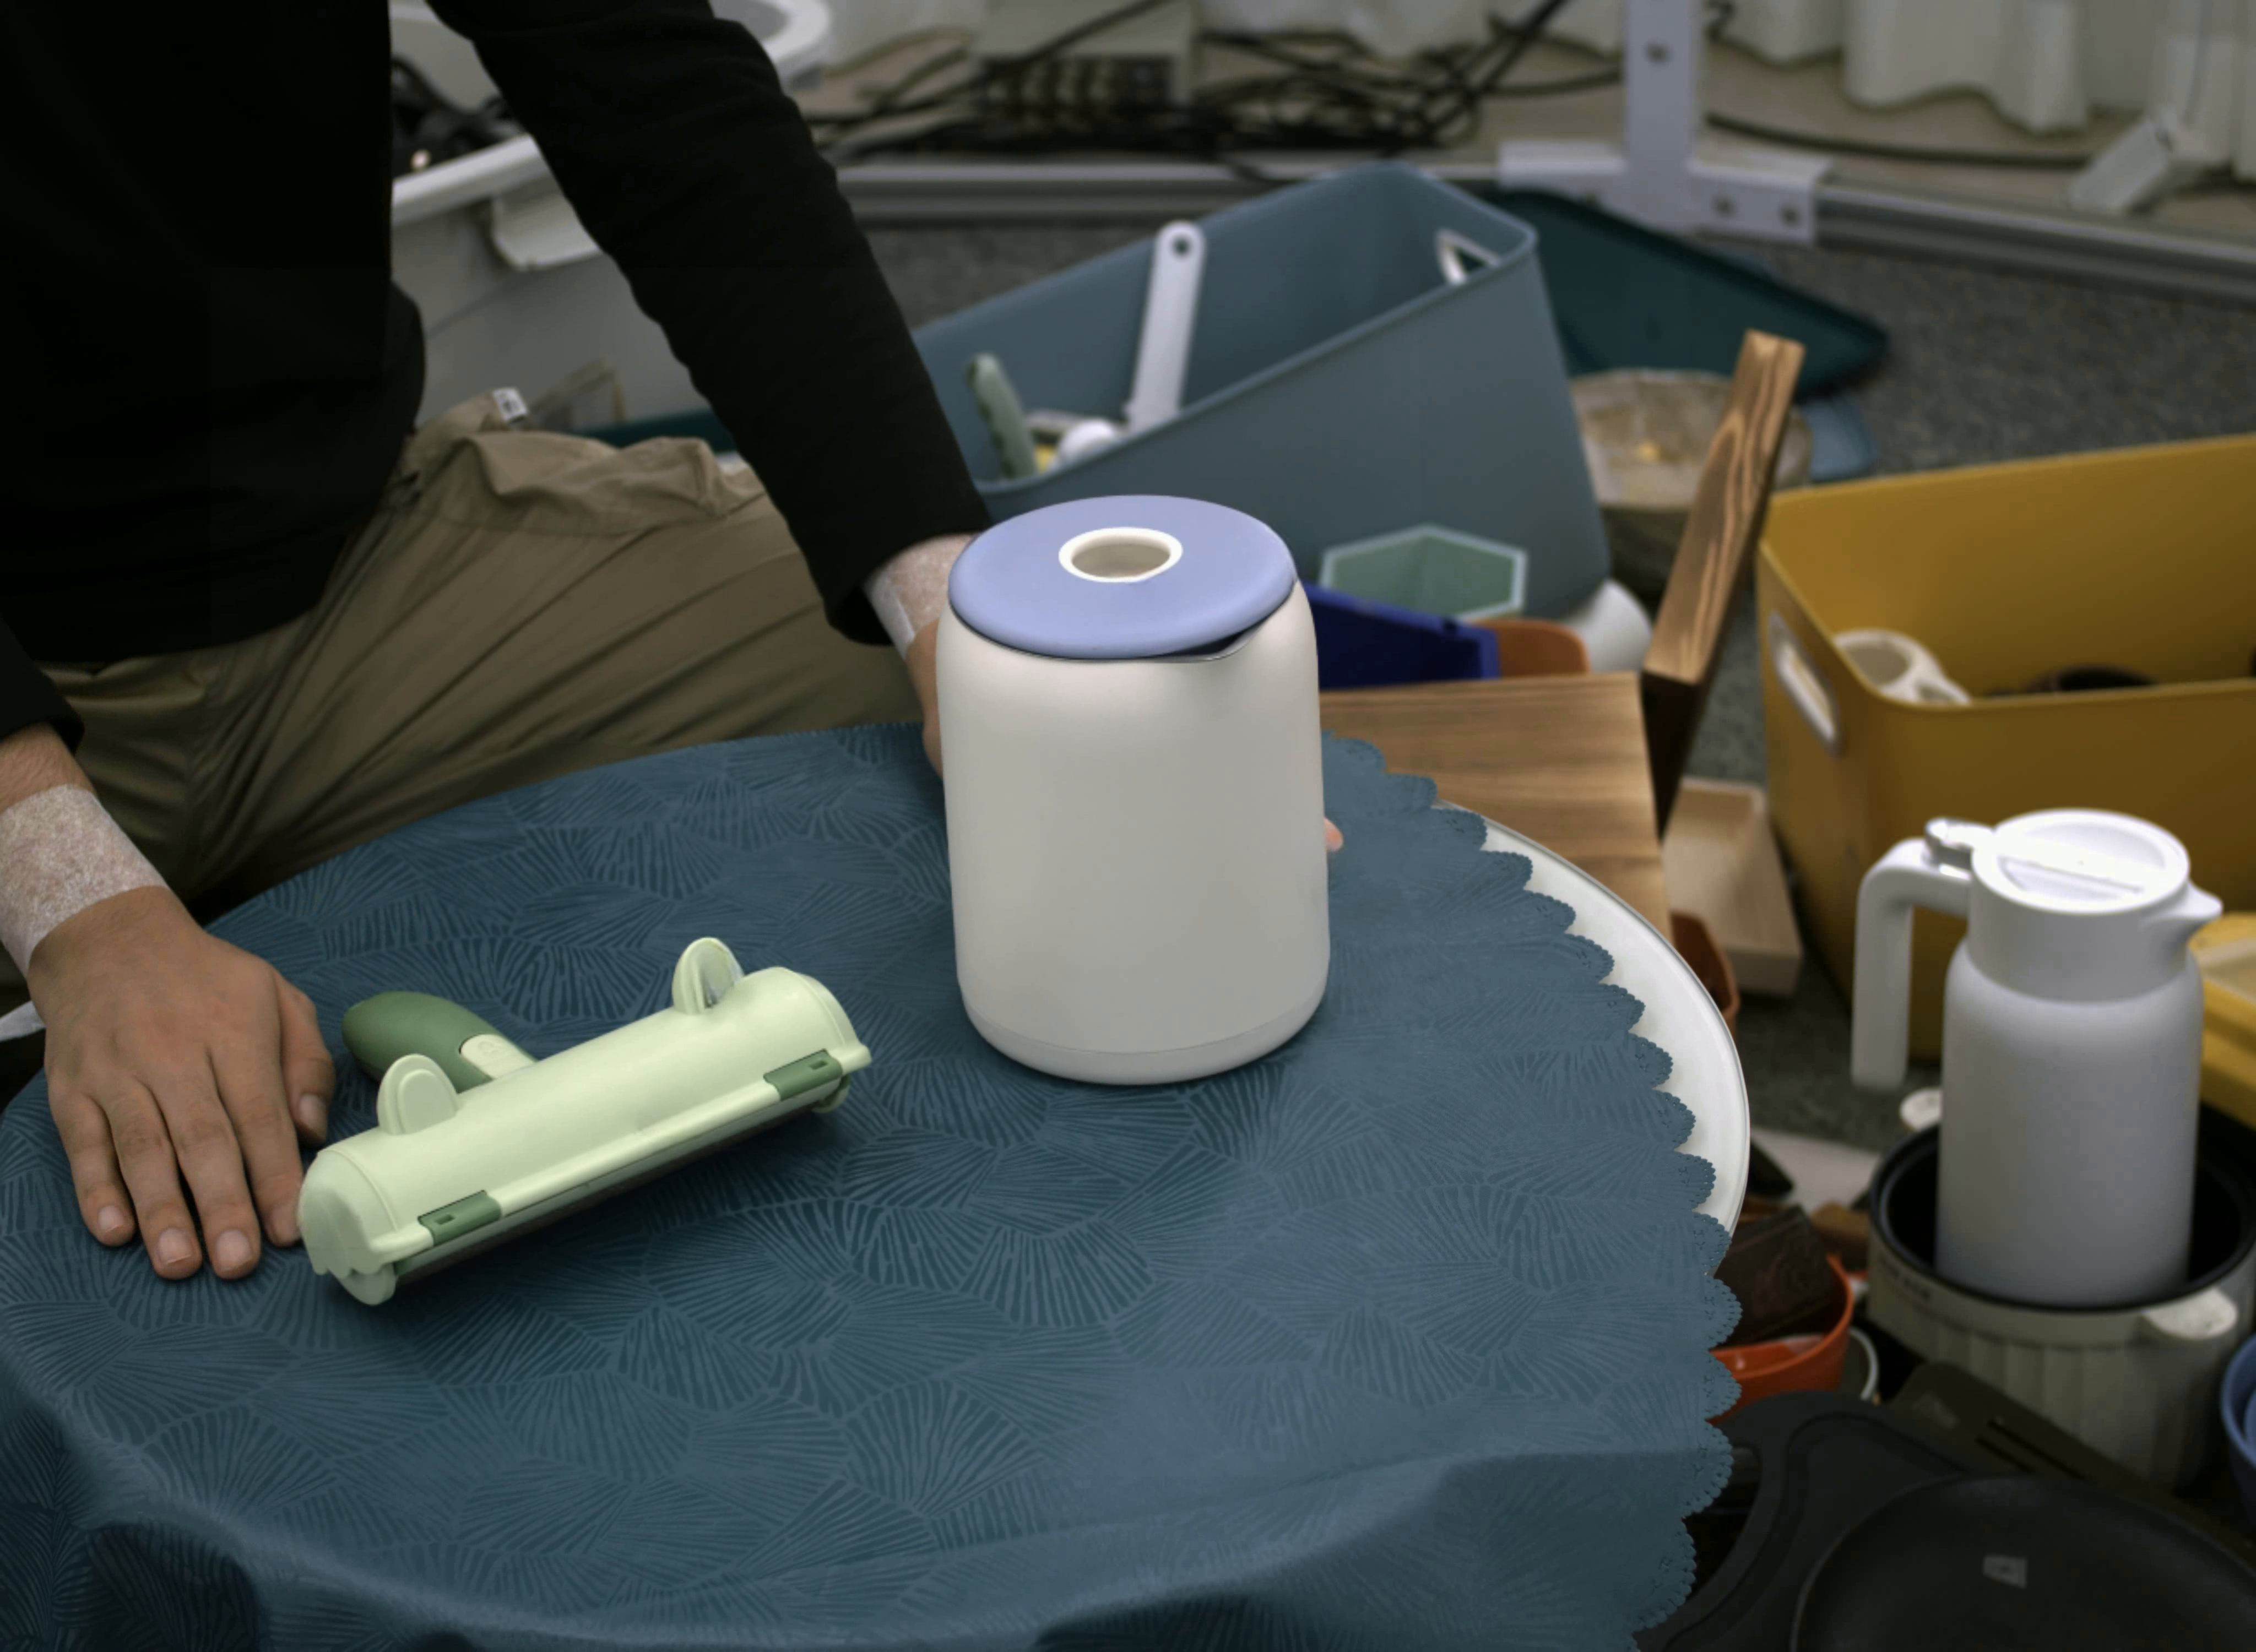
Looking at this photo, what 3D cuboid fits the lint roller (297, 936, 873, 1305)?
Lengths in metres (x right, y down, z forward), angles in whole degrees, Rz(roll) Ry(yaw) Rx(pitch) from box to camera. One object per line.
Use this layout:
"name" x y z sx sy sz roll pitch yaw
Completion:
"lint roller" -0.214 0.075 1.891 0.200 0.081 0.183 -21 35 -33

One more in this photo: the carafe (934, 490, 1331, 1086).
"carafe" -0.011 -0.022 1.956 0.133 0.181 0.191 -17 28 -27
